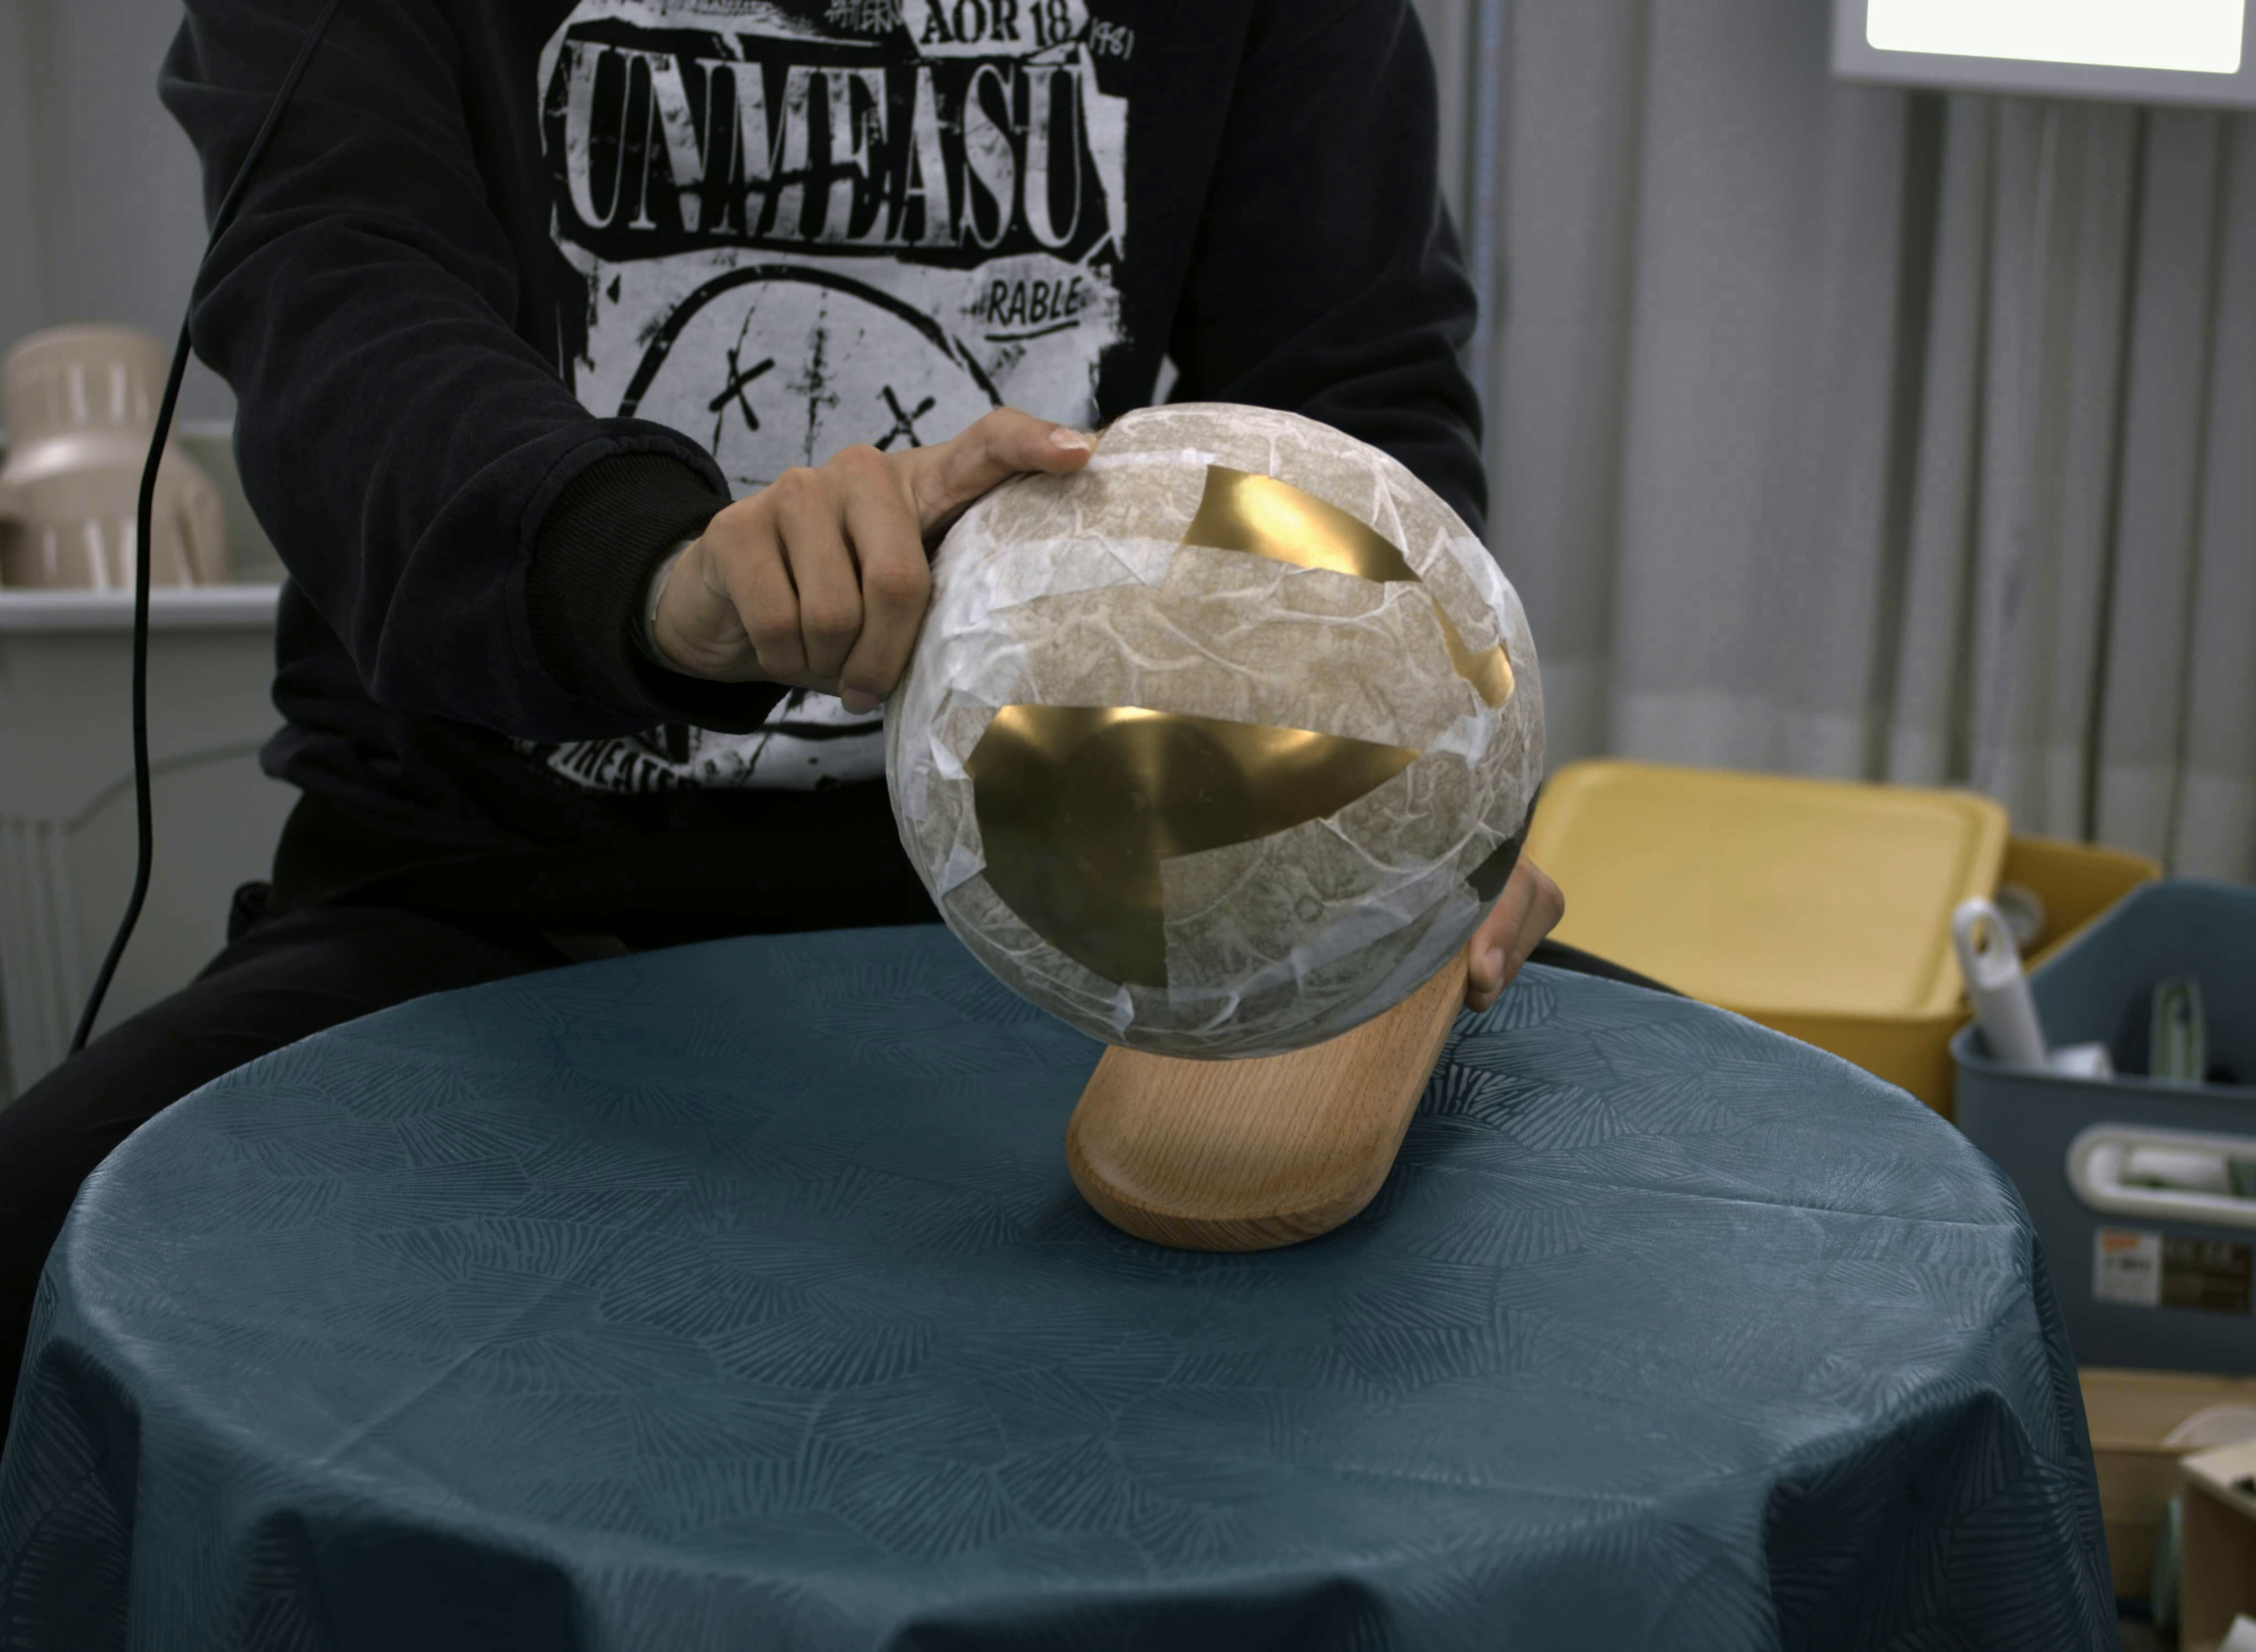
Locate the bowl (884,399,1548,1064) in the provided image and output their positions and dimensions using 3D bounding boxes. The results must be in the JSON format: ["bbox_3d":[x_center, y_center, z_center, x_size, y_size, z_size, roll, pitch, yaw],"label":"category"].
[{"bbox_3d":[0.018,-0.013,1.545,0.213,0.217,0.094,4,20,10],"label":"bowl"}]

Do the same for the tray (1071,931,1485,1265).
[{"bbox_3d":[0.050,0.070,1.662,0.101,0.020,0.230,4,32,14],"label":"tray"}]
